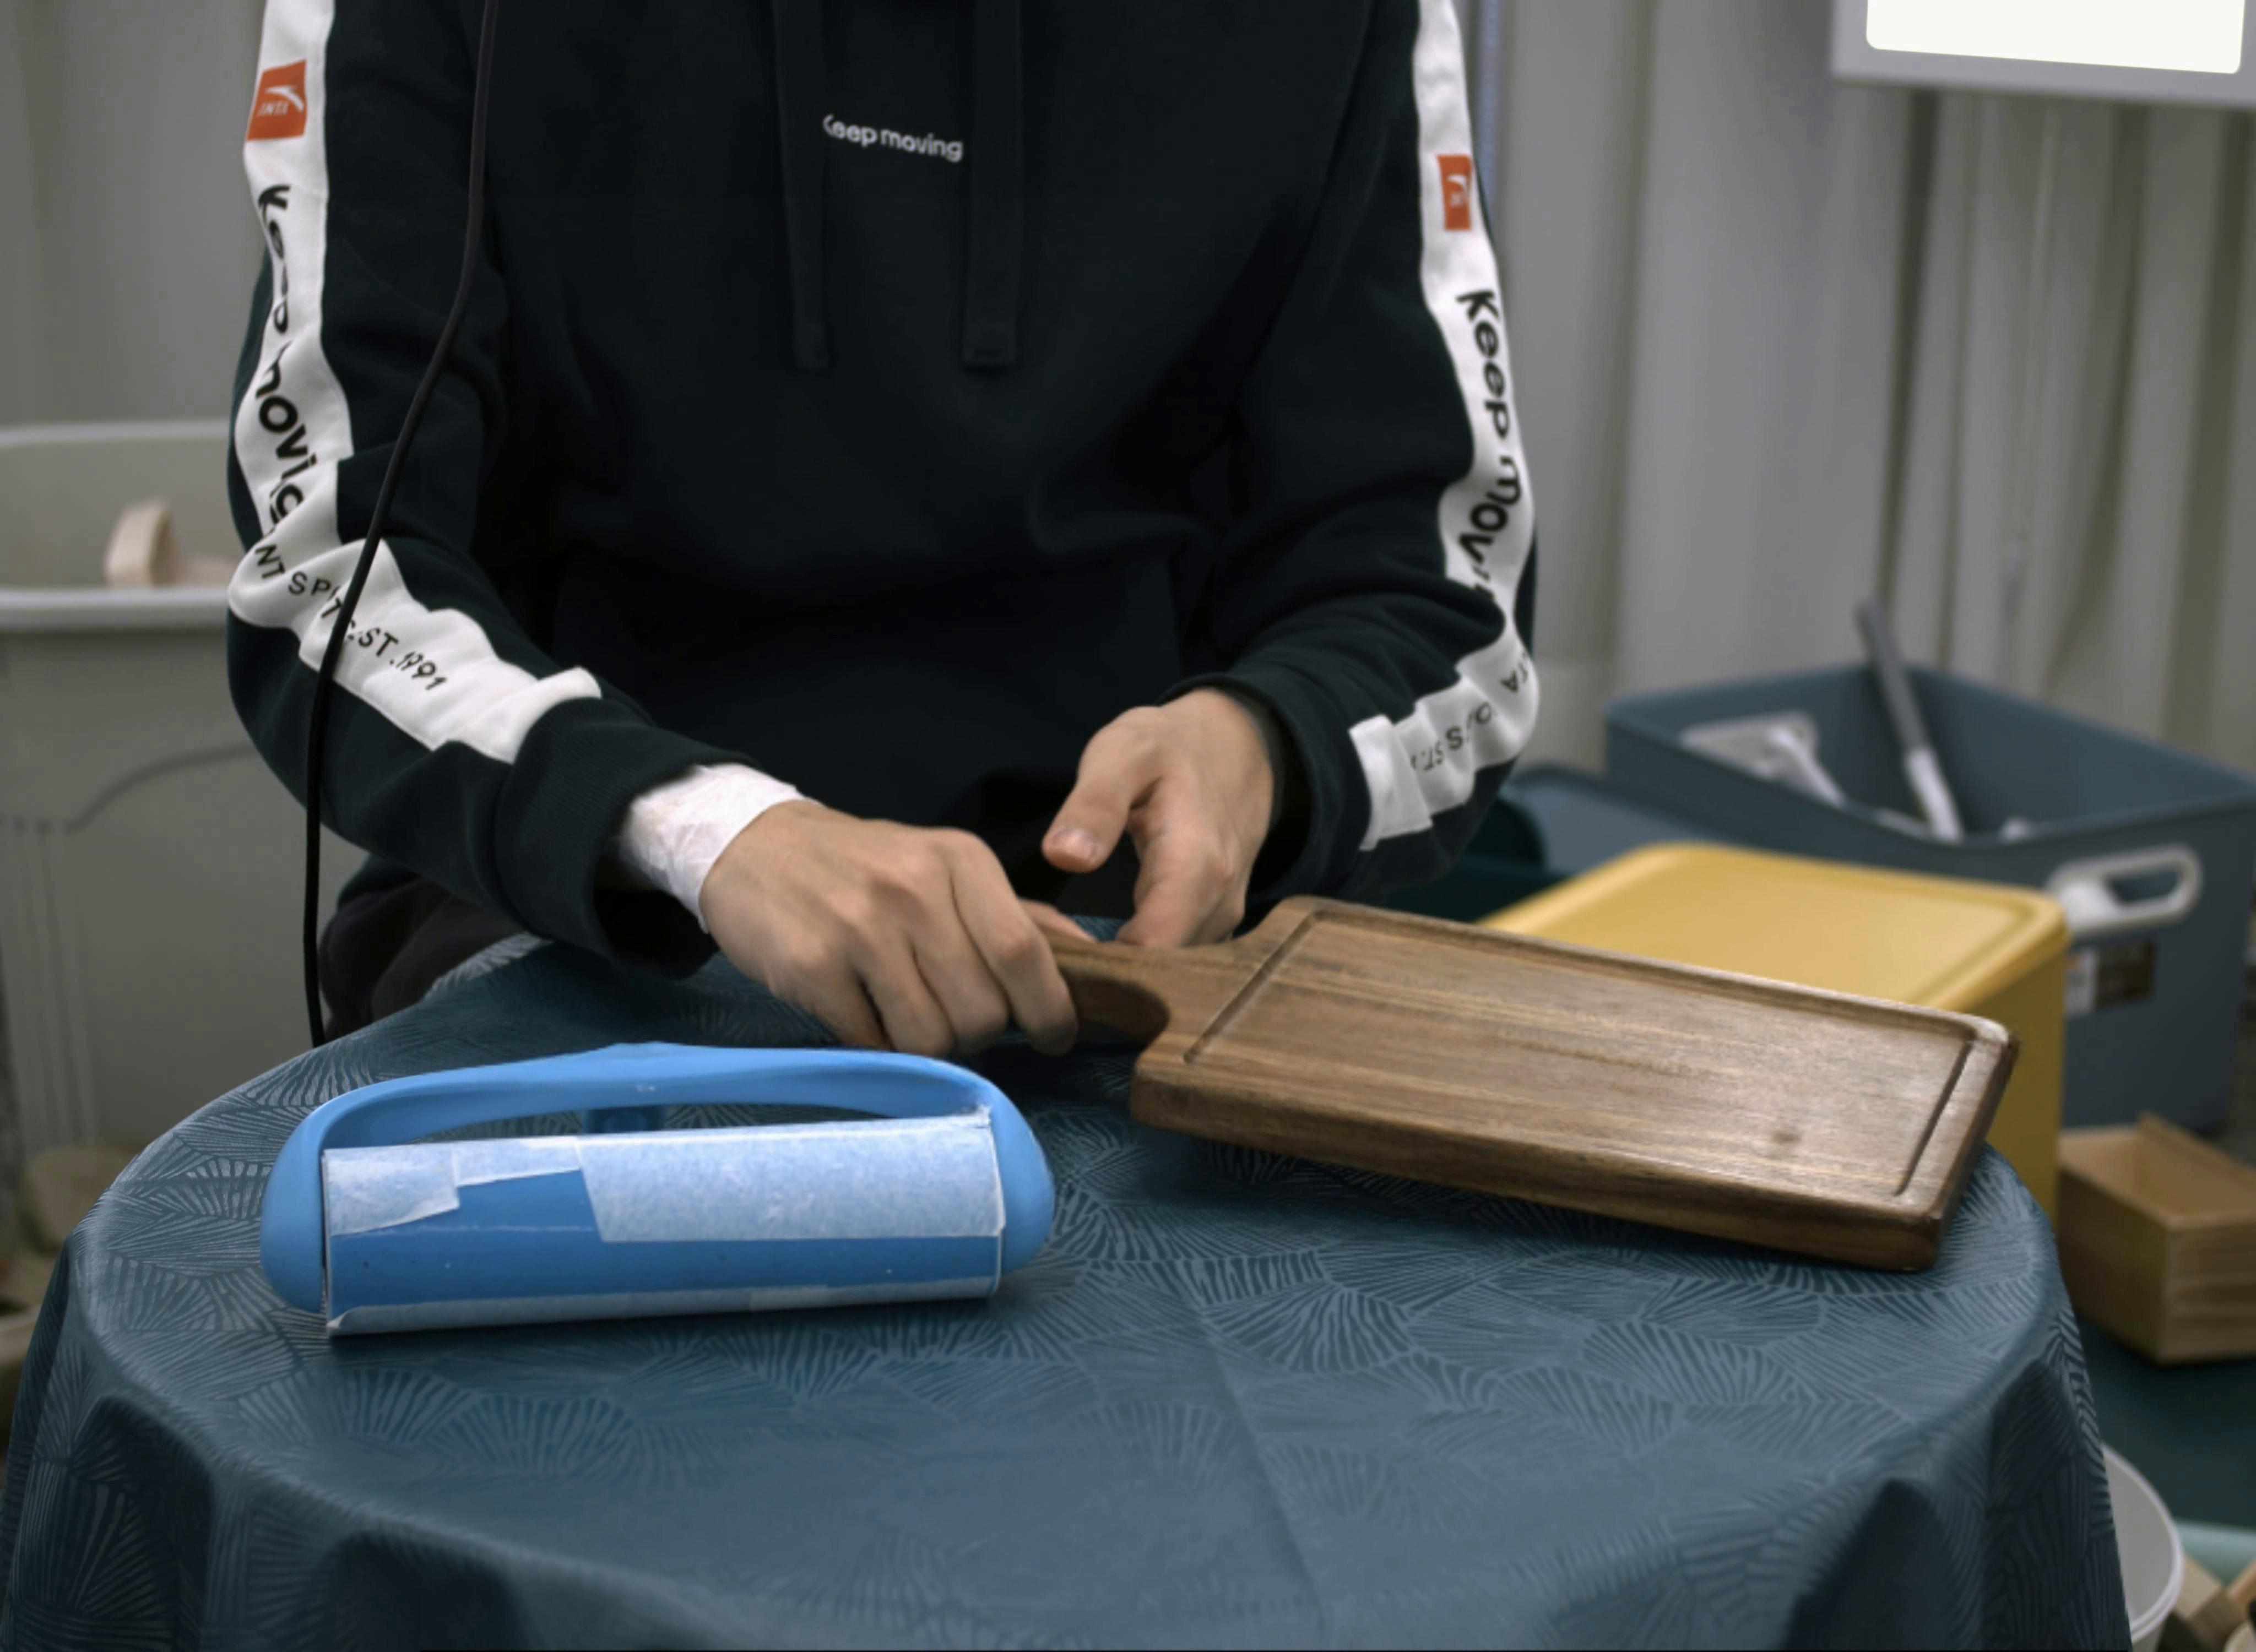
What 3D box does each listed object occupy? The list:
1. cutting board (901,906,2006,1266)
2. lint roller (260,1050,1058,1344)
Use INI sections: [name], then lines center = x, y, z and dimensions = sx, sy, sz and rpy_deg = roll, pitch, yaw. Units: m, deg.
[cutting board]
center = 0.098, 0.070, 1.674
dimensions = 0.349, 0.023, 0.201
rpy_deg = 10, 17, 12
[lint roller]
center = -0.146, 0.097, 1.562
dimensions = 0.229, 0.068, 0.178
rpy_deg = -5, 18, -12
